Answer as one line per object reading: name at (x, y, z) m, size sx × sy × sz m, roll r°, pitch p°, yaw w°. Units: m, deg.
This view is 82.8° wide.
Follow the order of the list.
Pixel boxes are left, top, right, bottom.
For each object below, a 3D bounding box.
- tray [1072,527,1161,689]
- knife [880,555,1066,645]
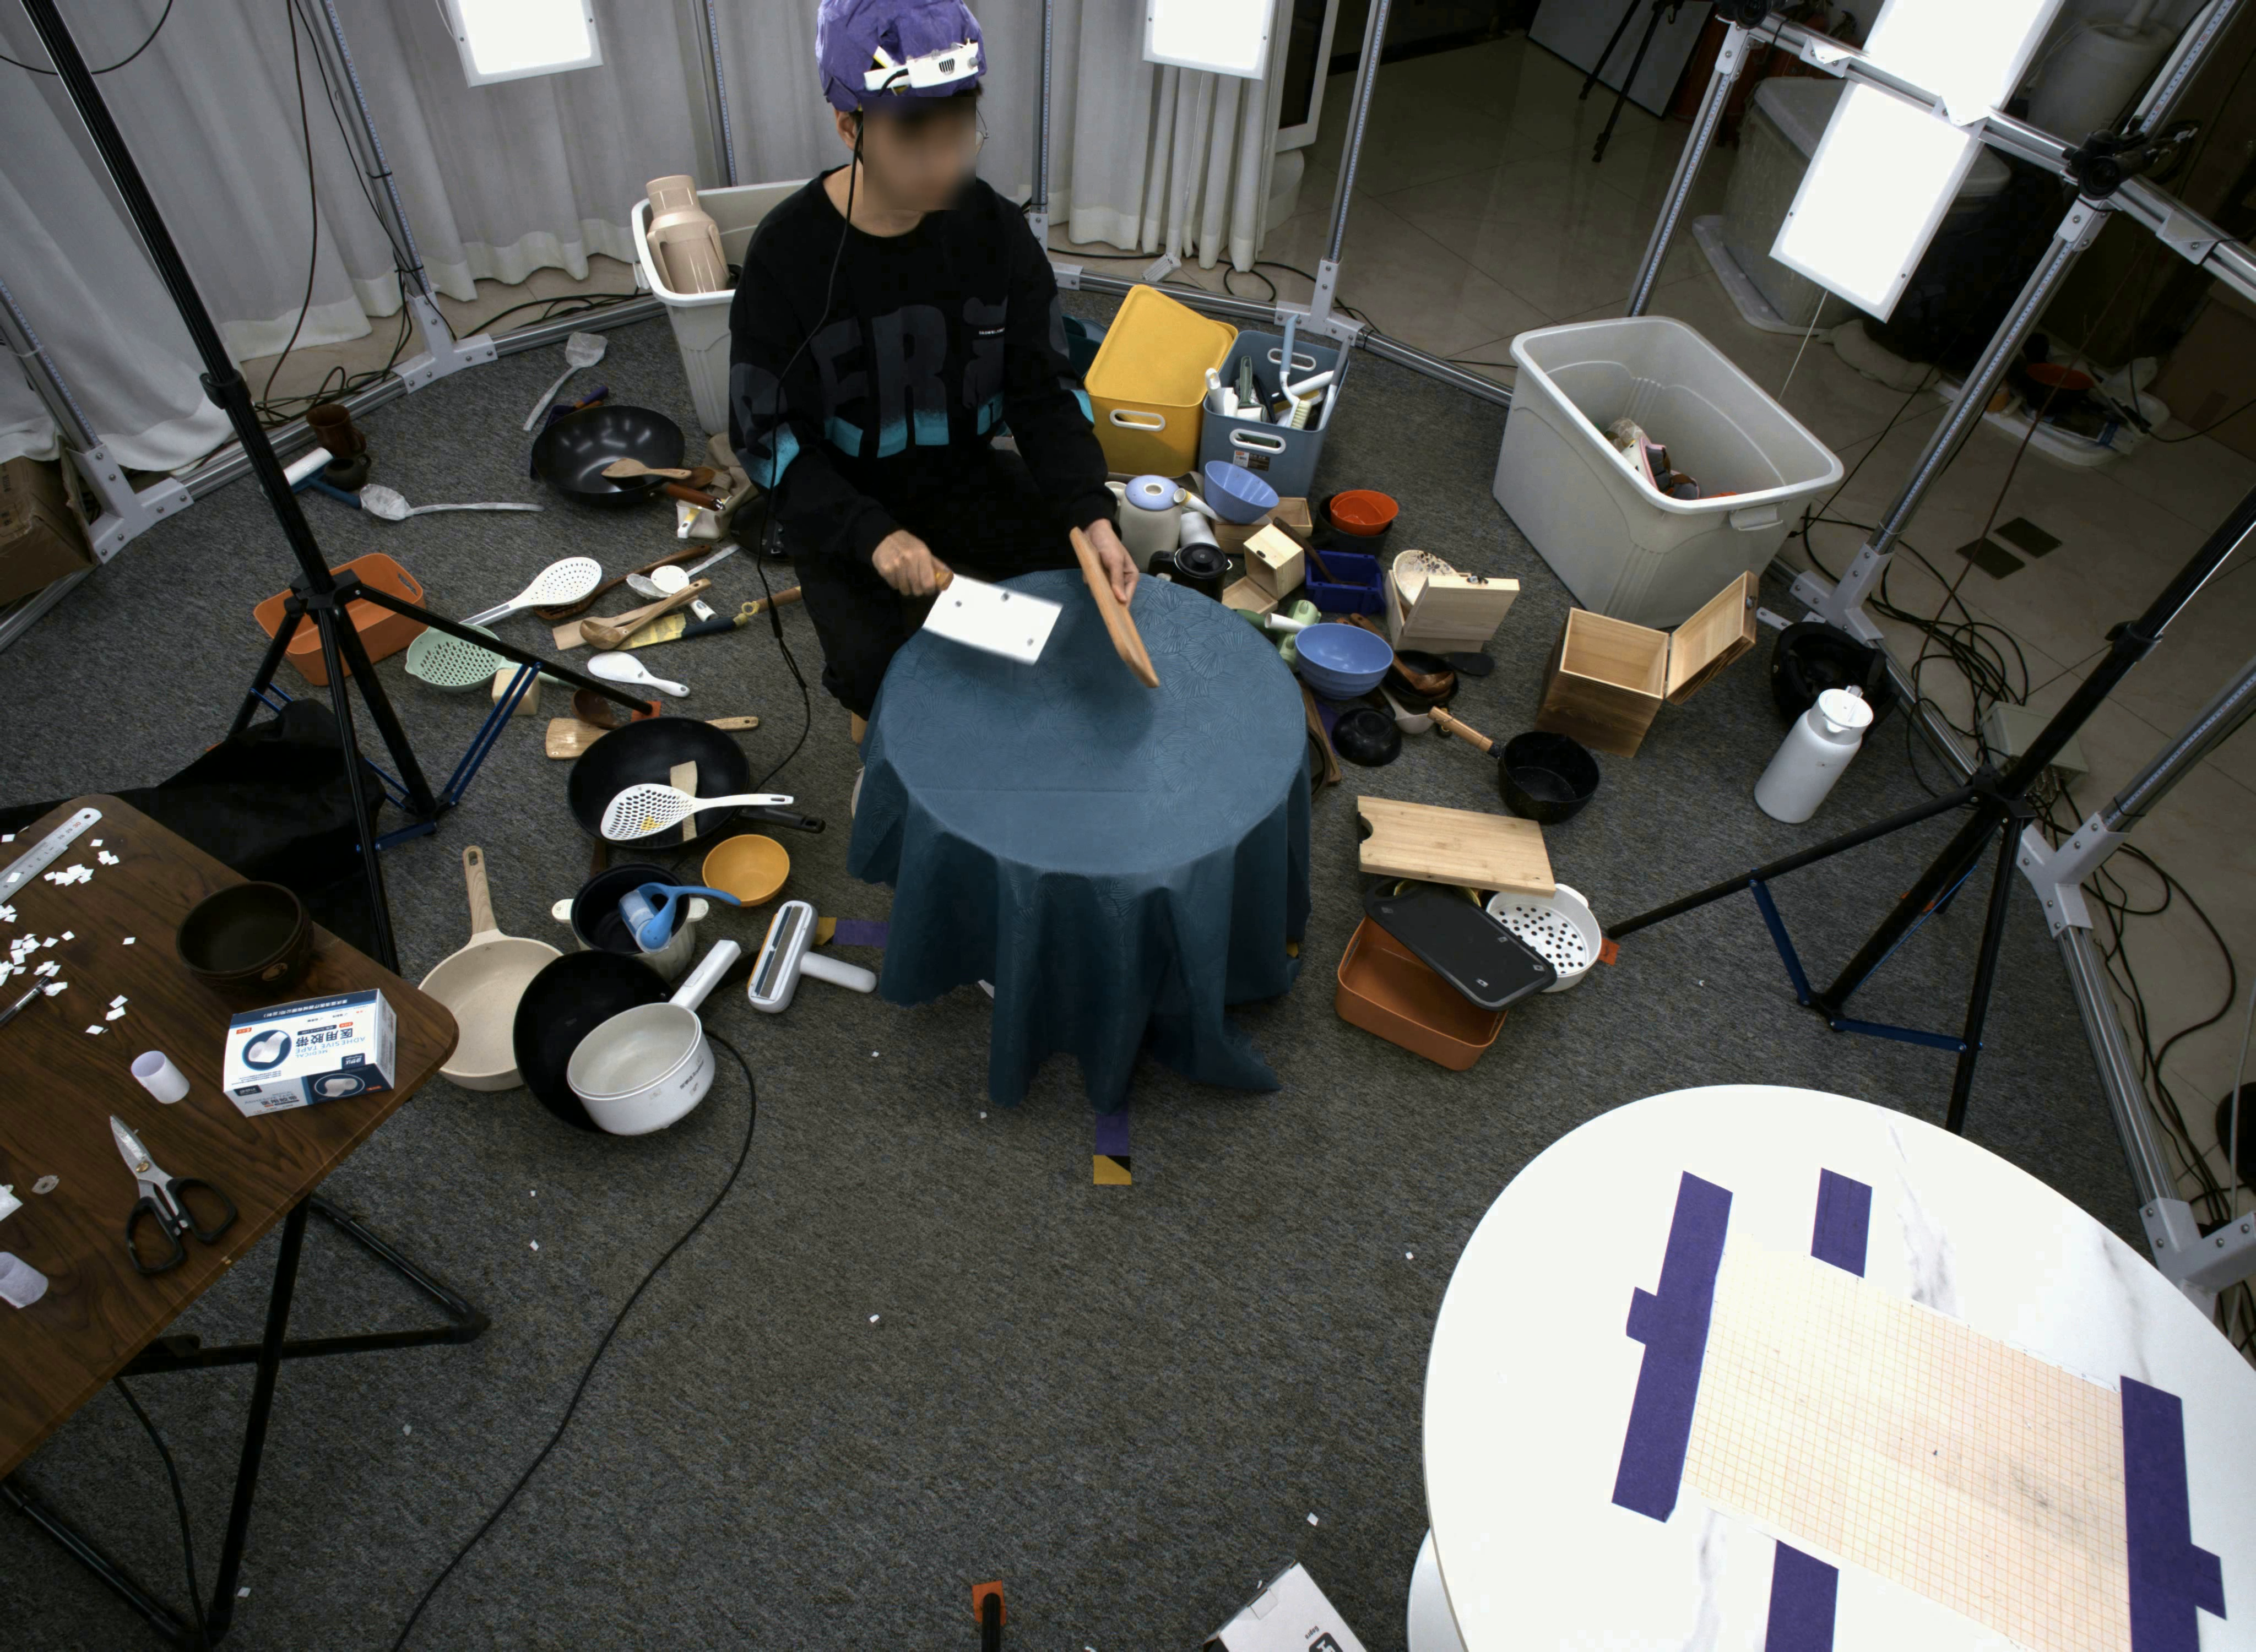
tray at (-0.018, -0.307, 1.813) m, size 0.023 × 0.128 × 0.256 m, roll -28°, pitch 57°, yaw 10°
knife at (-0.232, -0.318, 1.828) m, size 0.308 × 0.020 × 0.094 m, roll 18°, pitch 75°, yaw 23°
